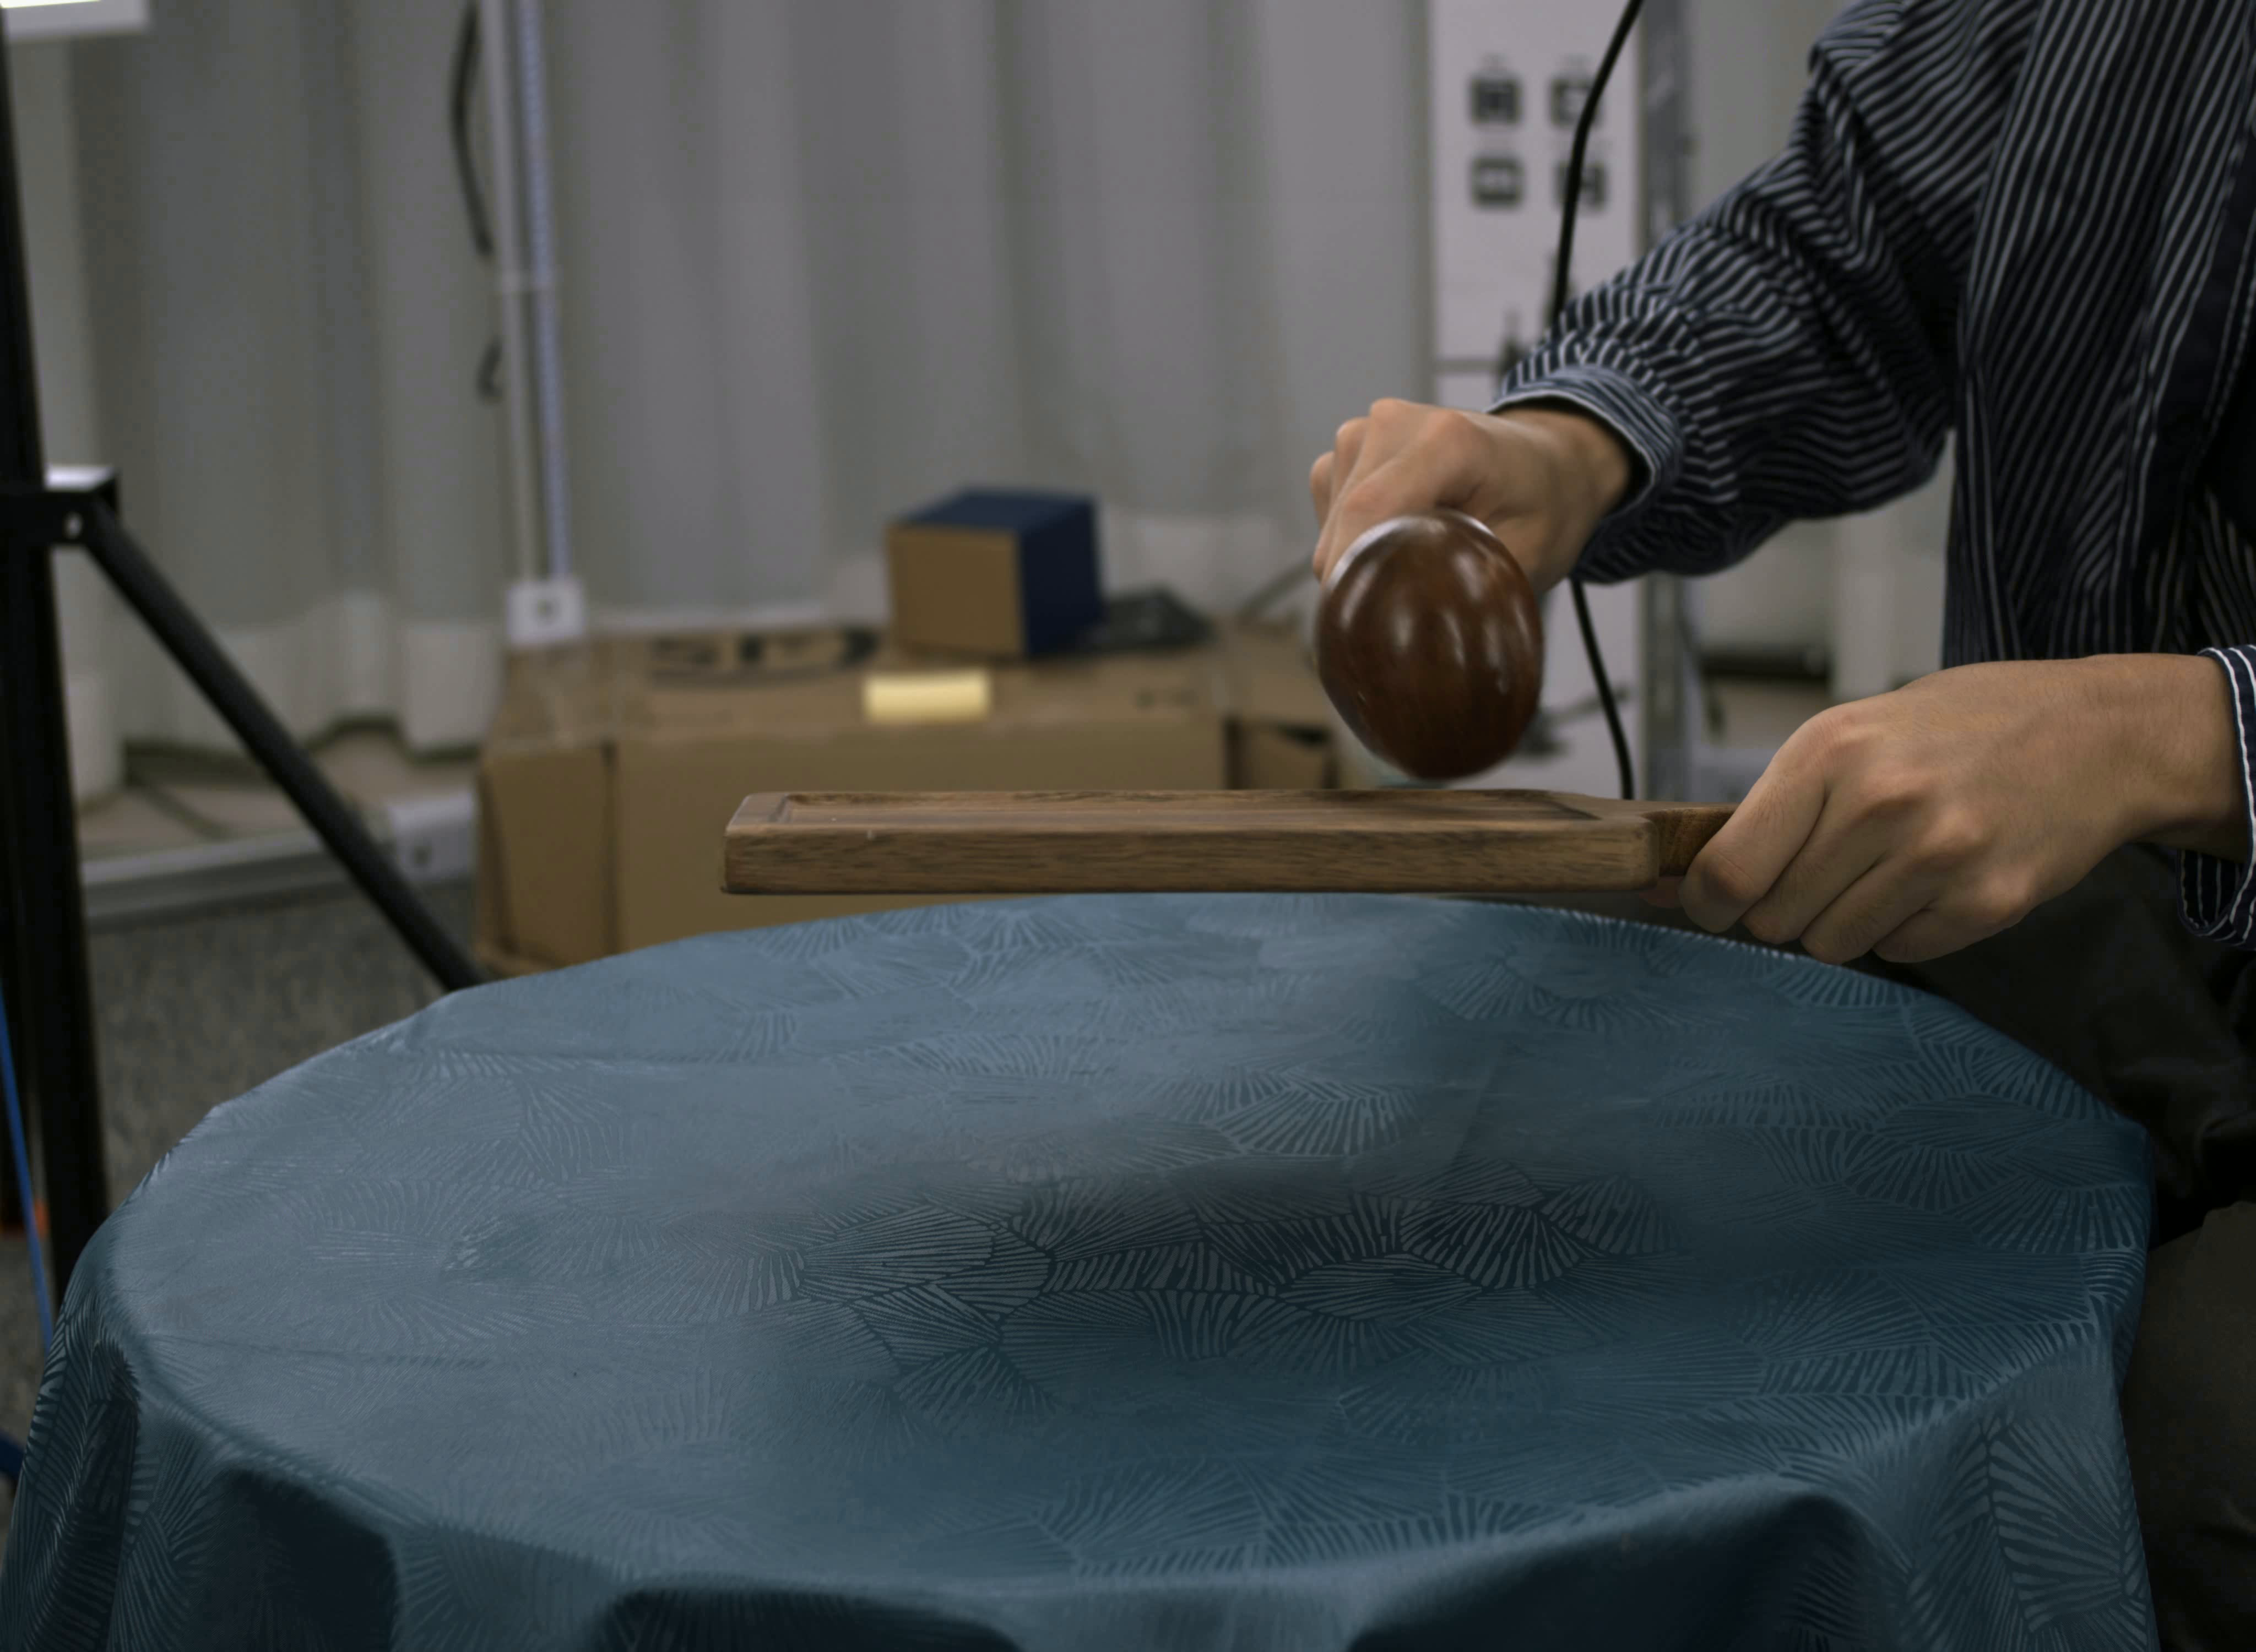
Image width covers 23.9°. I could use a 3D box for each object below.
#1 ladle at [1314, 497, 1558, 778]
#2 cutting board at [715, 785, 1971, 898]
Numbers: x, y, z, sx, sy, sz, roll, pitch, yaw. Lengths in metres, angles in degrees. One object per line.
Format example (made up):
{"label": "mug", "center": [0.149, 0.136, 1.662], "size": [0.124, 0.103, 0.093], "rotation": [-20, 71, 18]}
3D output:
{"label": "ladle", "center": [0.105, -0.071, 1.659], "size": [0.077, 0.082, 0.272], "rotation": [6, 9, 8]}
{"label": "cutting board", "center": [0.061, 0.004, 1.486], "size": [0.350, 0.023, 0.201], "rotation": [0, 3, 0]}
